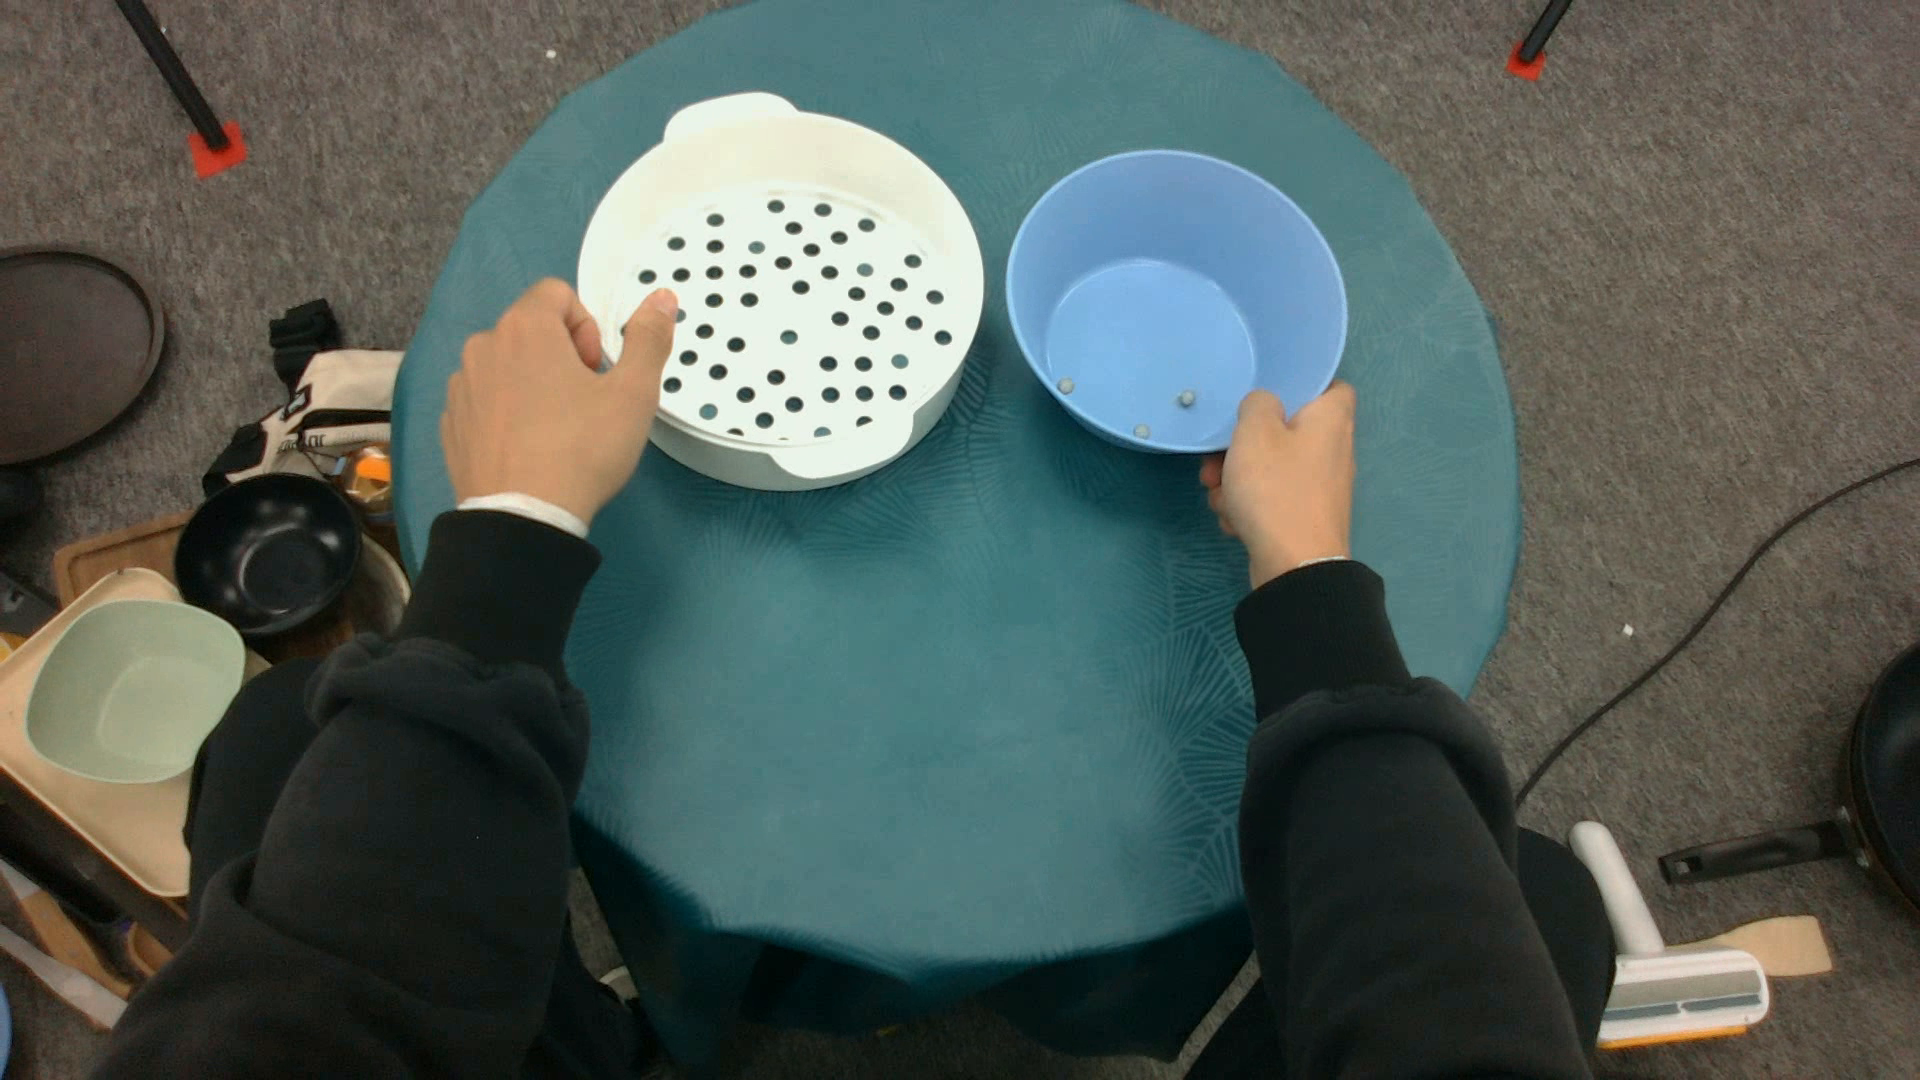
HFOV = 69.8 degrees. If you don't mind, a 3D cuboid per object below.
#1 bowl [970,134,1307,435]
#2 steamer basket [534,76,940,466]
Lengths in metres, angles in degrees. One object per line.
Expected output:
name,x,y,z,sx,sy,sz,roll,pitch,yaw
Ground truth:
bowl,0.089,-0.123,0.732,0.176,0.070,0.176,2,69,-5
steamer basket,-0.113,-0.134,0.716,0.202,0.069,0.231,-17,68,-14
